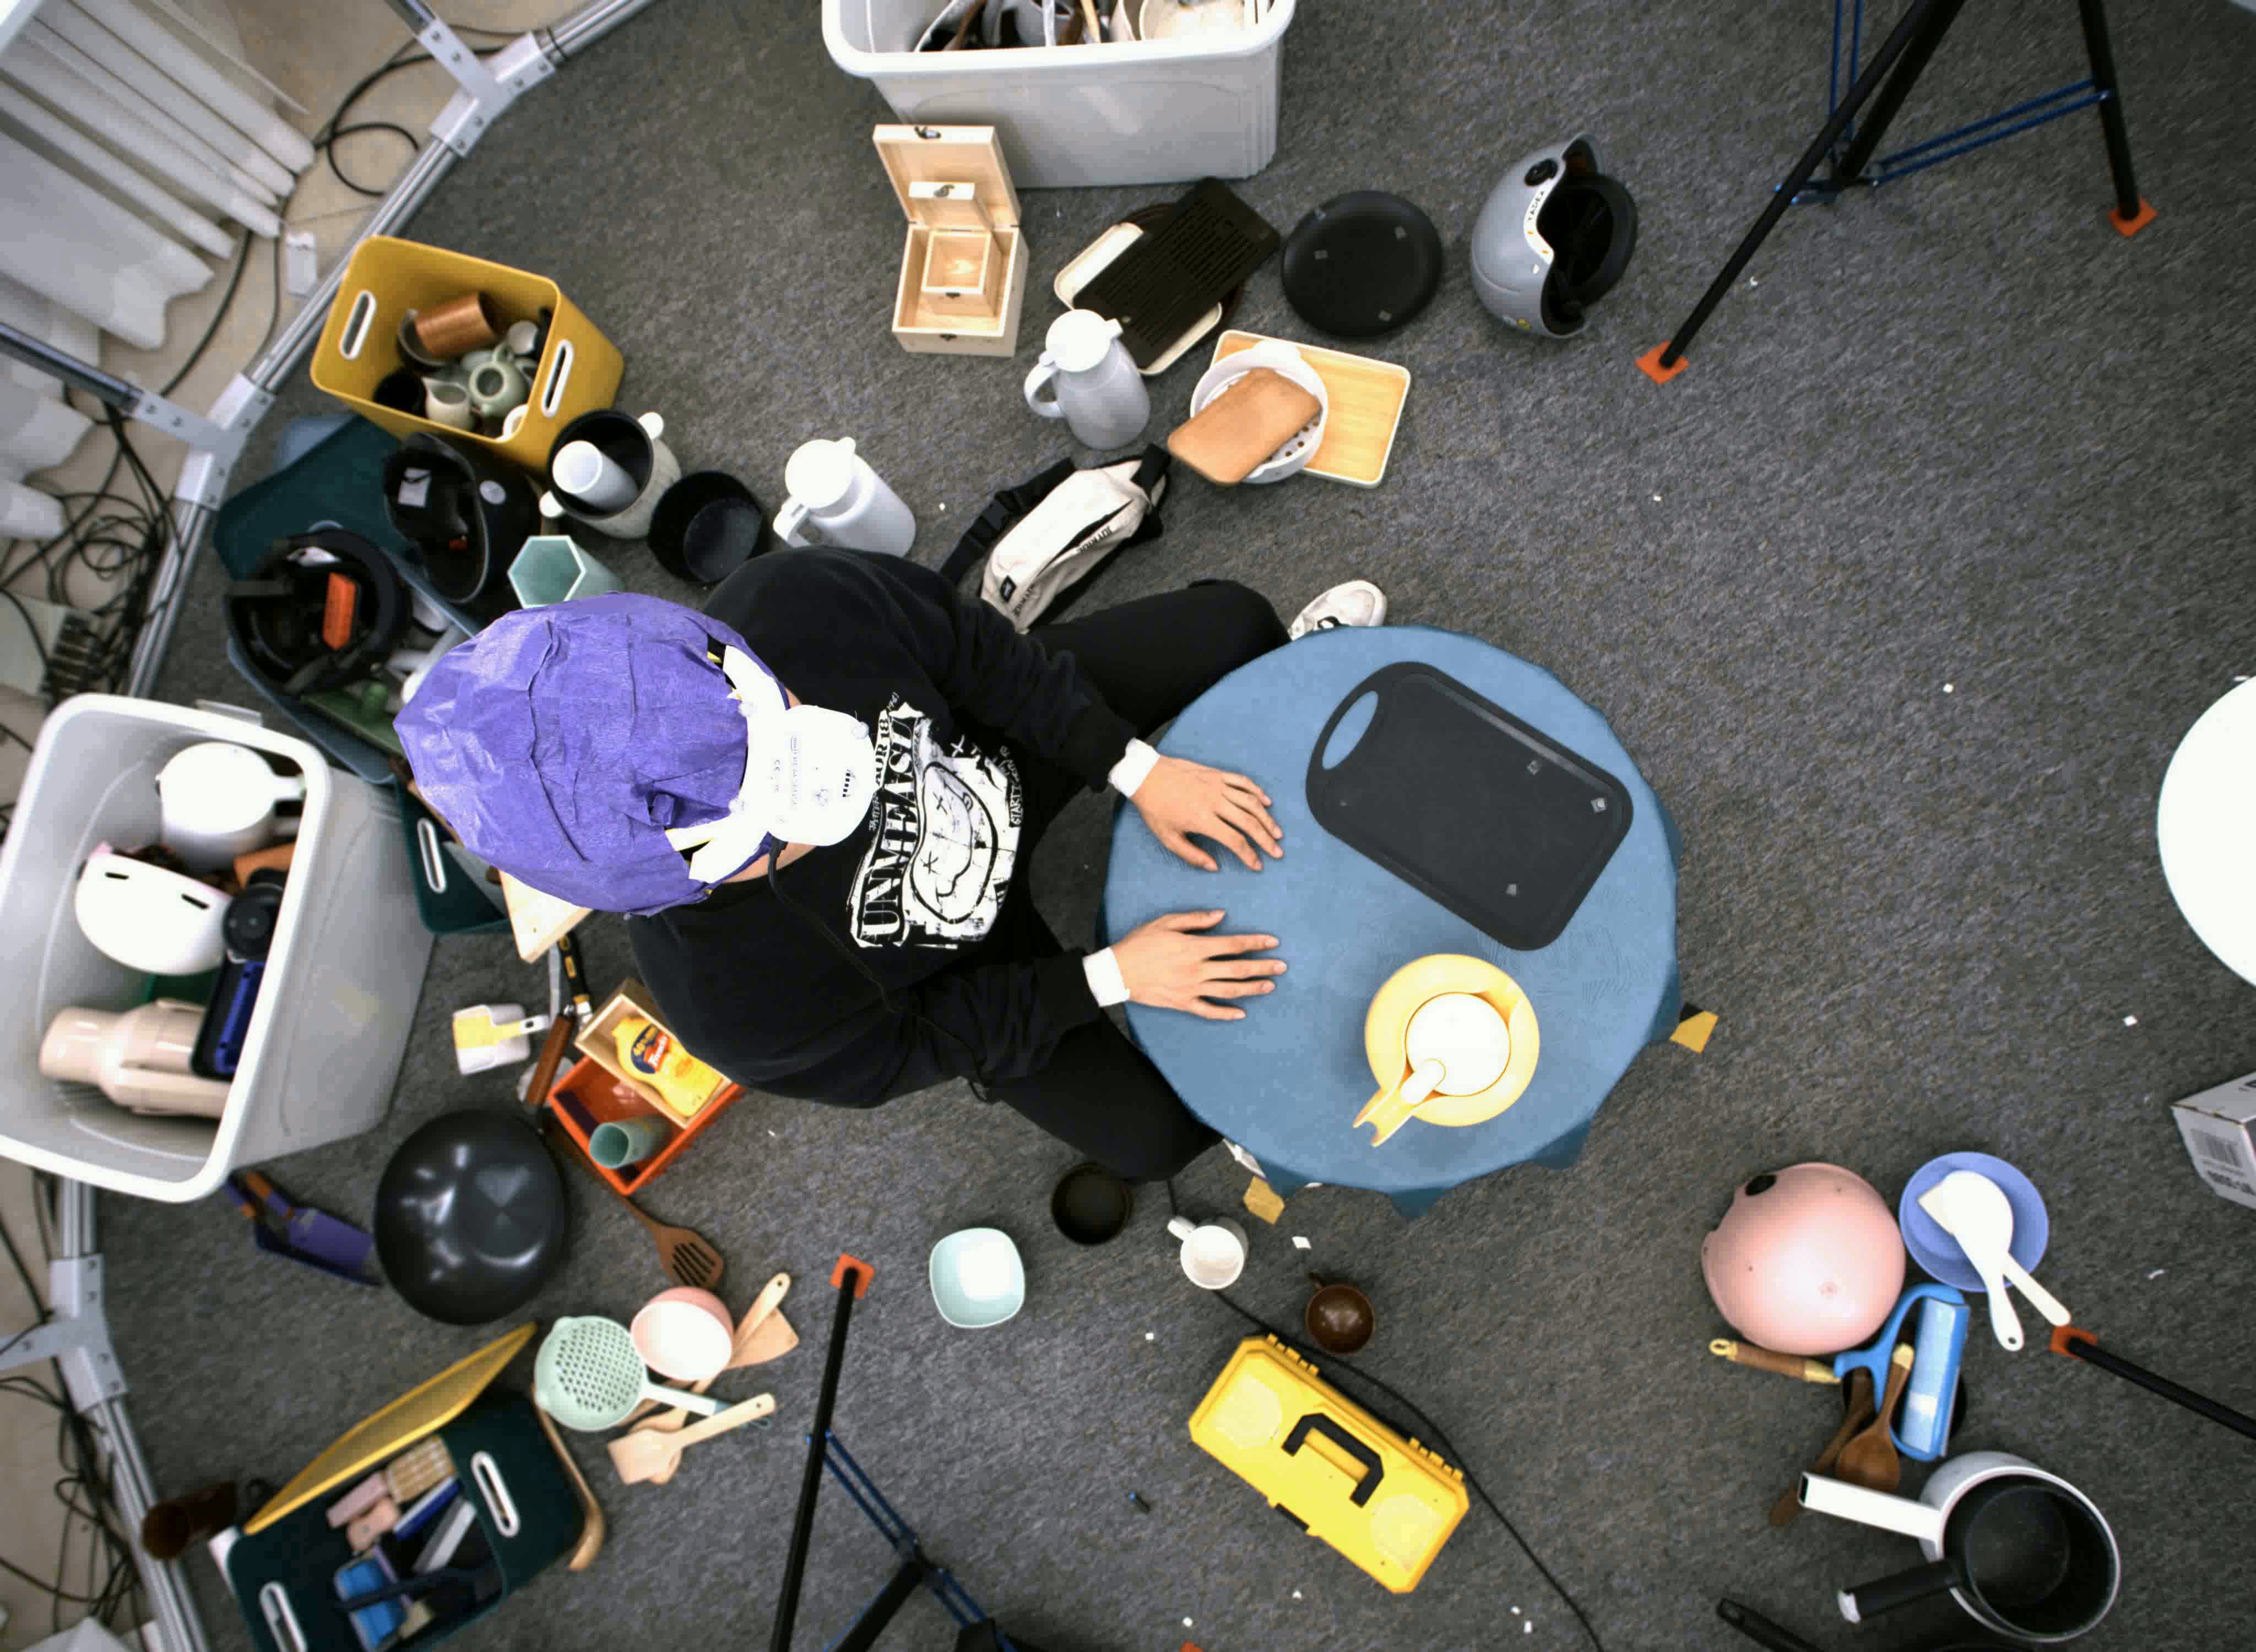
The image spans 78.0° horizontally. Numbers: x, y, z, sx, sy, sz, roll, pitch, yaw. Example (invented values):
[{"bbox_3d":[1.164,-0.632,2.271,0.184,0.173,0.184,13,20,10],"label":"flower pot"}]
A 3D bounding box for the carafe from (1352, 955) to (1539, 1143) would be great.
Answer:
[{"bbox_3d":[0.292,0.215,1.317,0.203,0.261,0.162,-44,77,3],"label":"carafe"}]

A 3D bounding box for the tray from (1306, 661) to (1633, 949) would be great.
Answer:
[{"bbox_3d":[0.350,-0.031,1.447,0.324,0.010,0.211,34,93,11],"label":"tray"}]
